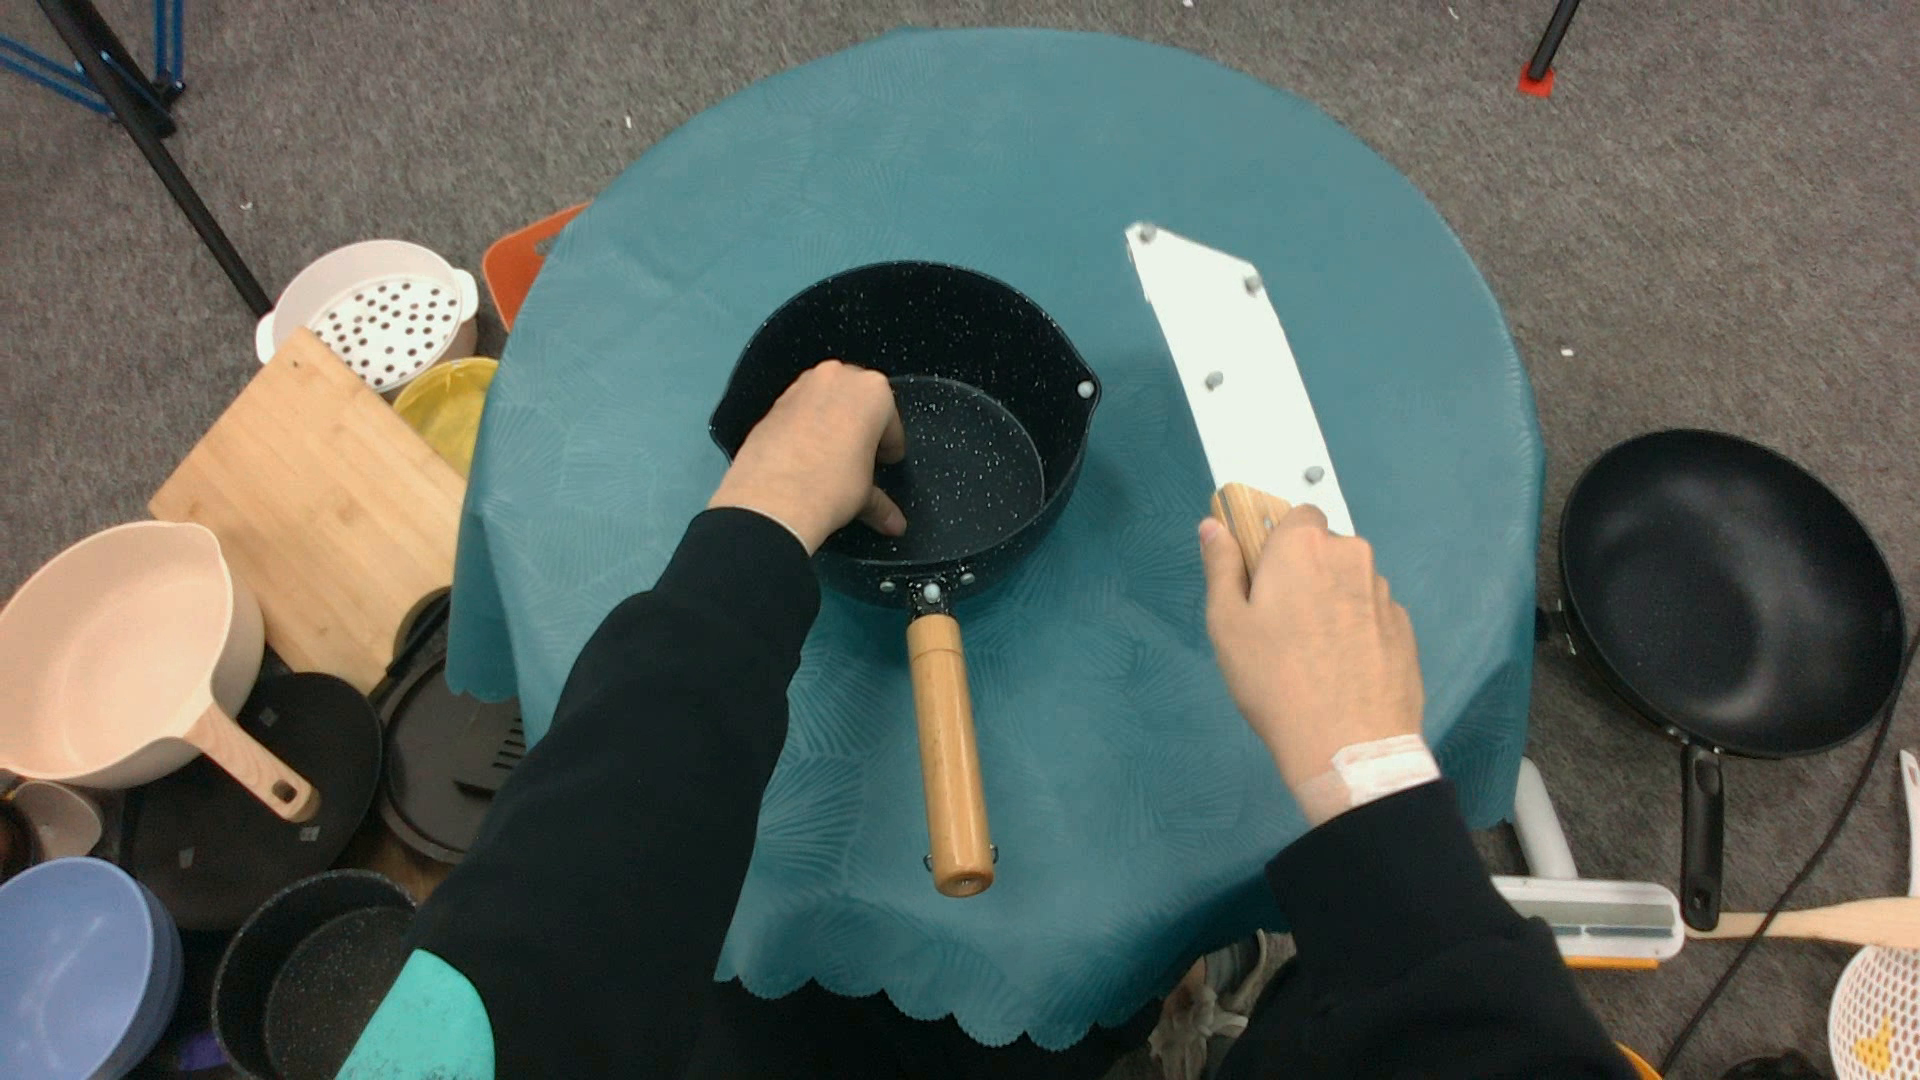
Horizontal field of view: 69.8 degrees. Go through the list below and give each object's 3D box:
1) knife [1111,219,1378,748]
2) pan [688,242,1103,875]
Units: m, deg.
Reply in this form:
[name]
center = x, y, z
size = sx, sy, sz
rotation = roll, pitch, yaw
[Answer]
[knife]
center = 0.137, -0.044, 0.655
size = 0.114, 0.021, 0.316
rotation = 17, 47, -28
[pan]
center = -0.020, 0.007, 0.679
size = 0.207, 0.108, 0.344
rotation = -8, 61, -5
